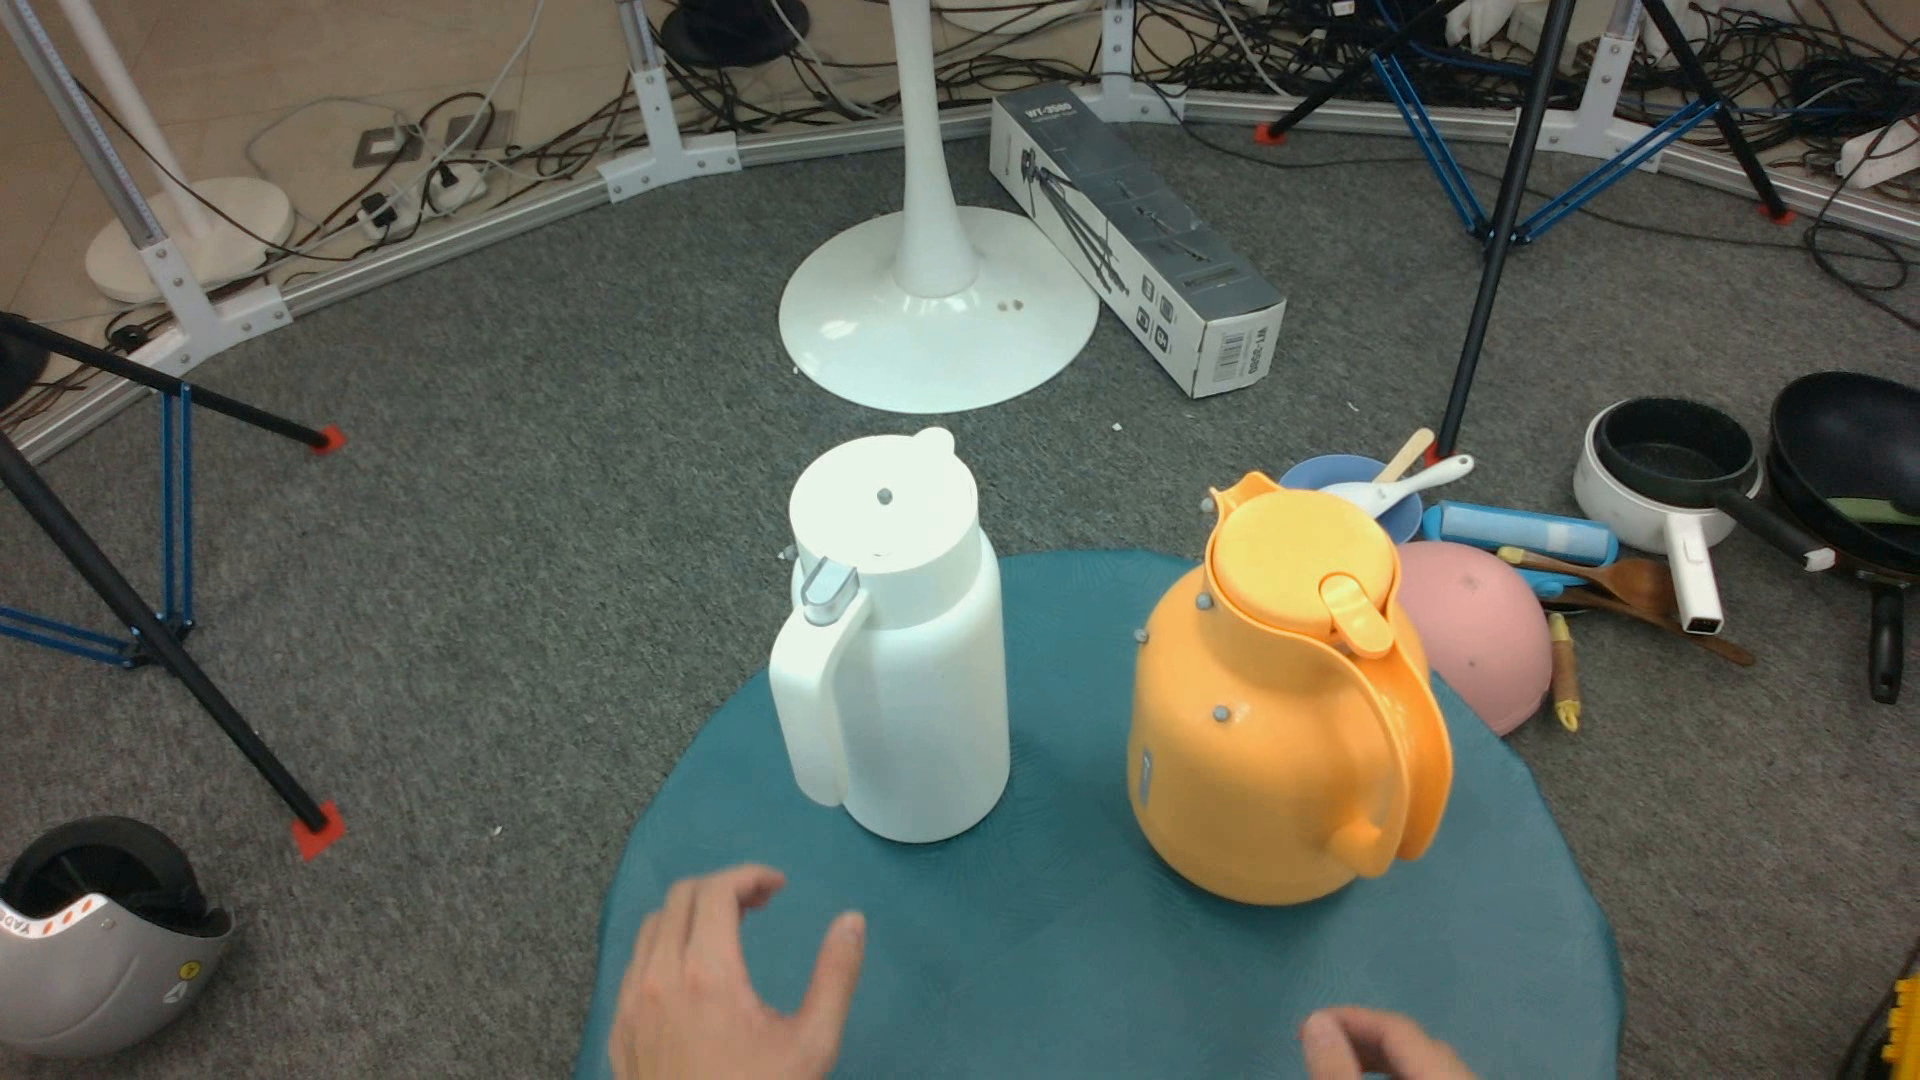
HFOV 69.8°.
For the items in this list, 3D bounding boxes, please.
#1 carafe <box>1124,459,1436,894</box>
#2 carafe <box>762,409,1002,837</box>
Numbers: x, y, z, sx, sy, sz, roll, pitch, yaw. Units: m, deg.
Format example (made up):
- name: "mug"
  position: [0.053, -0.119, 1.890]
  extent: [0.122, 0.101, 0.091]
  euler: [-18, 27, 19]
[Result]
- name: "carafe"
  position: [0.182, 0.093, 0.772]
  extent: [0.164, 0.259, 0.203]
  euler: [-20, 49, -10]
- name: "carafe"
  position: [-0.043, 0.073, 0.800]
  extent: [0.124, 0.267, 0.173]
  euler: [19, 53, 16]
